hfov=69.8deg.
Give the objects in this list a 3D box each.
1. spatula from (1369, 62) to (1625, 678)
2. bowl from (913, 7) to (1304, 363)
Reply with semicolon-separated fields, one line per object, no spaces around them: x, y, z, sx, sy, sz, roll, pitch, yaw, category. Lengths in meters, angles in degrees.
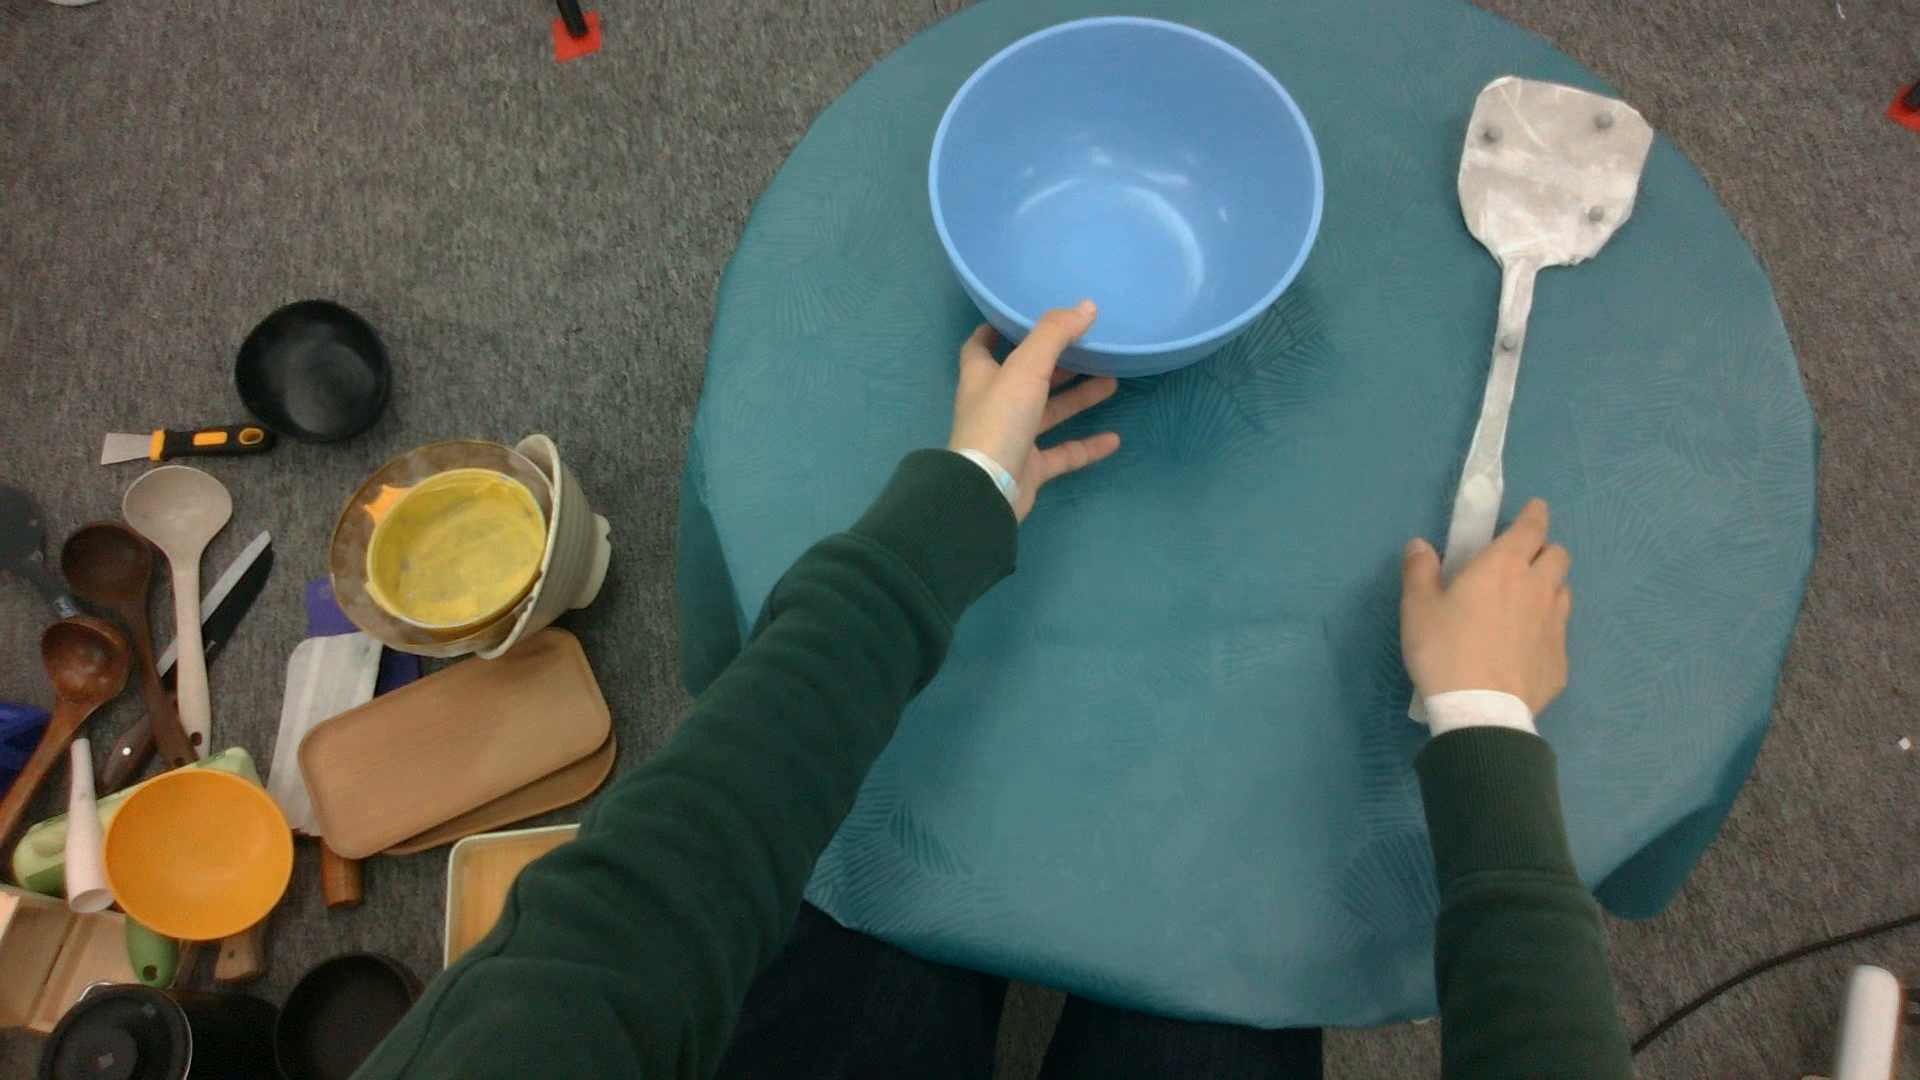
0.274;-0.096;0.733;0.098;0.044;0.366;18;70;4;spatula
0.073;-0.172;0.730;0.196;0.095;0.197;1;69;-2;bowl
